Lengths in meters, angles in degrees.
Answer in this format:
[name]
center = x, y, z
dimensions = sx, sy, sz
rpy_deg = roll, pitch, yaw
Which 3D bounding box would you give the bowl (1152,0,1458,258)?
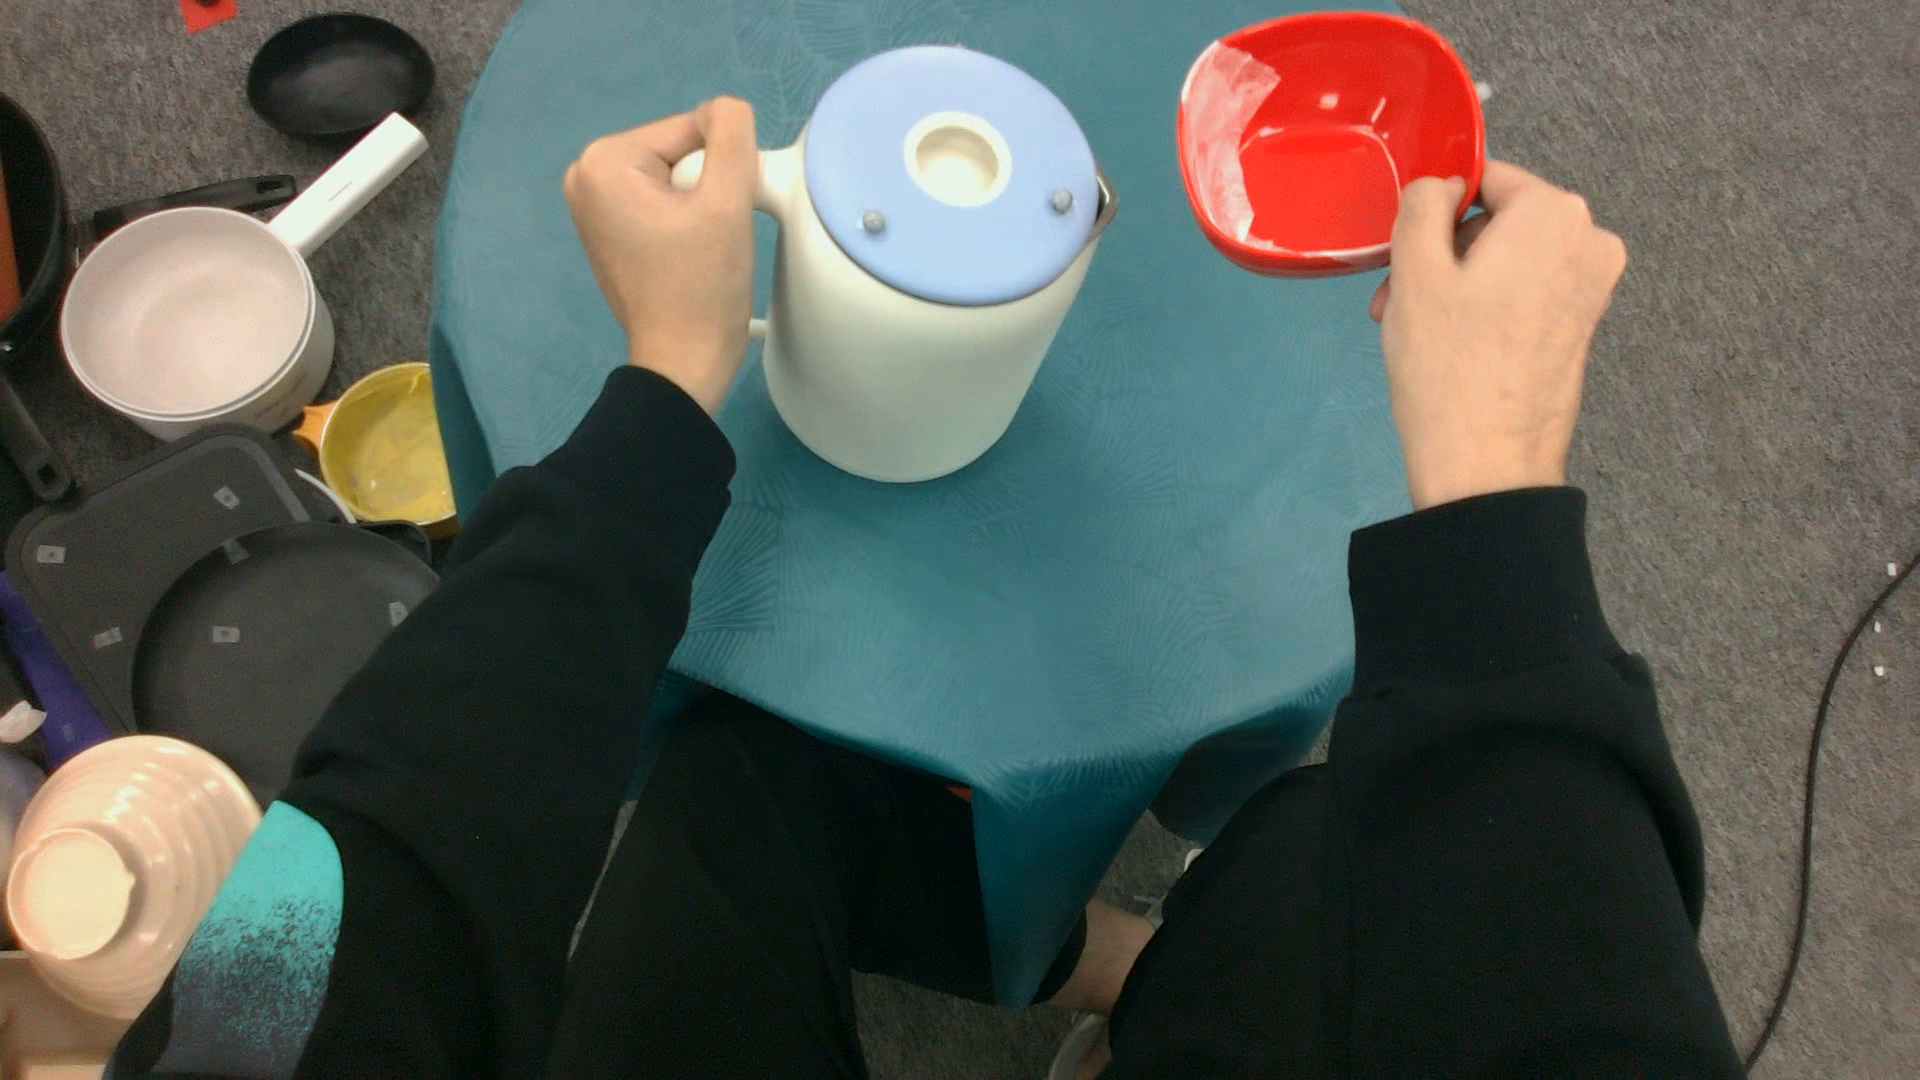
[bowl]
center = 0.130, -0.151, 0.532
dimensions = 0.119, 0.051, 0.119
rpy_deg = -3, 66, 6

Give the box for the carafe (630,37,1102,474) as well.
[carafe]
center = -0.050, -0.122, 0.613
dimensions = 0.191, 0.182, 0.132
rpy_deg = 3, 67, -10
